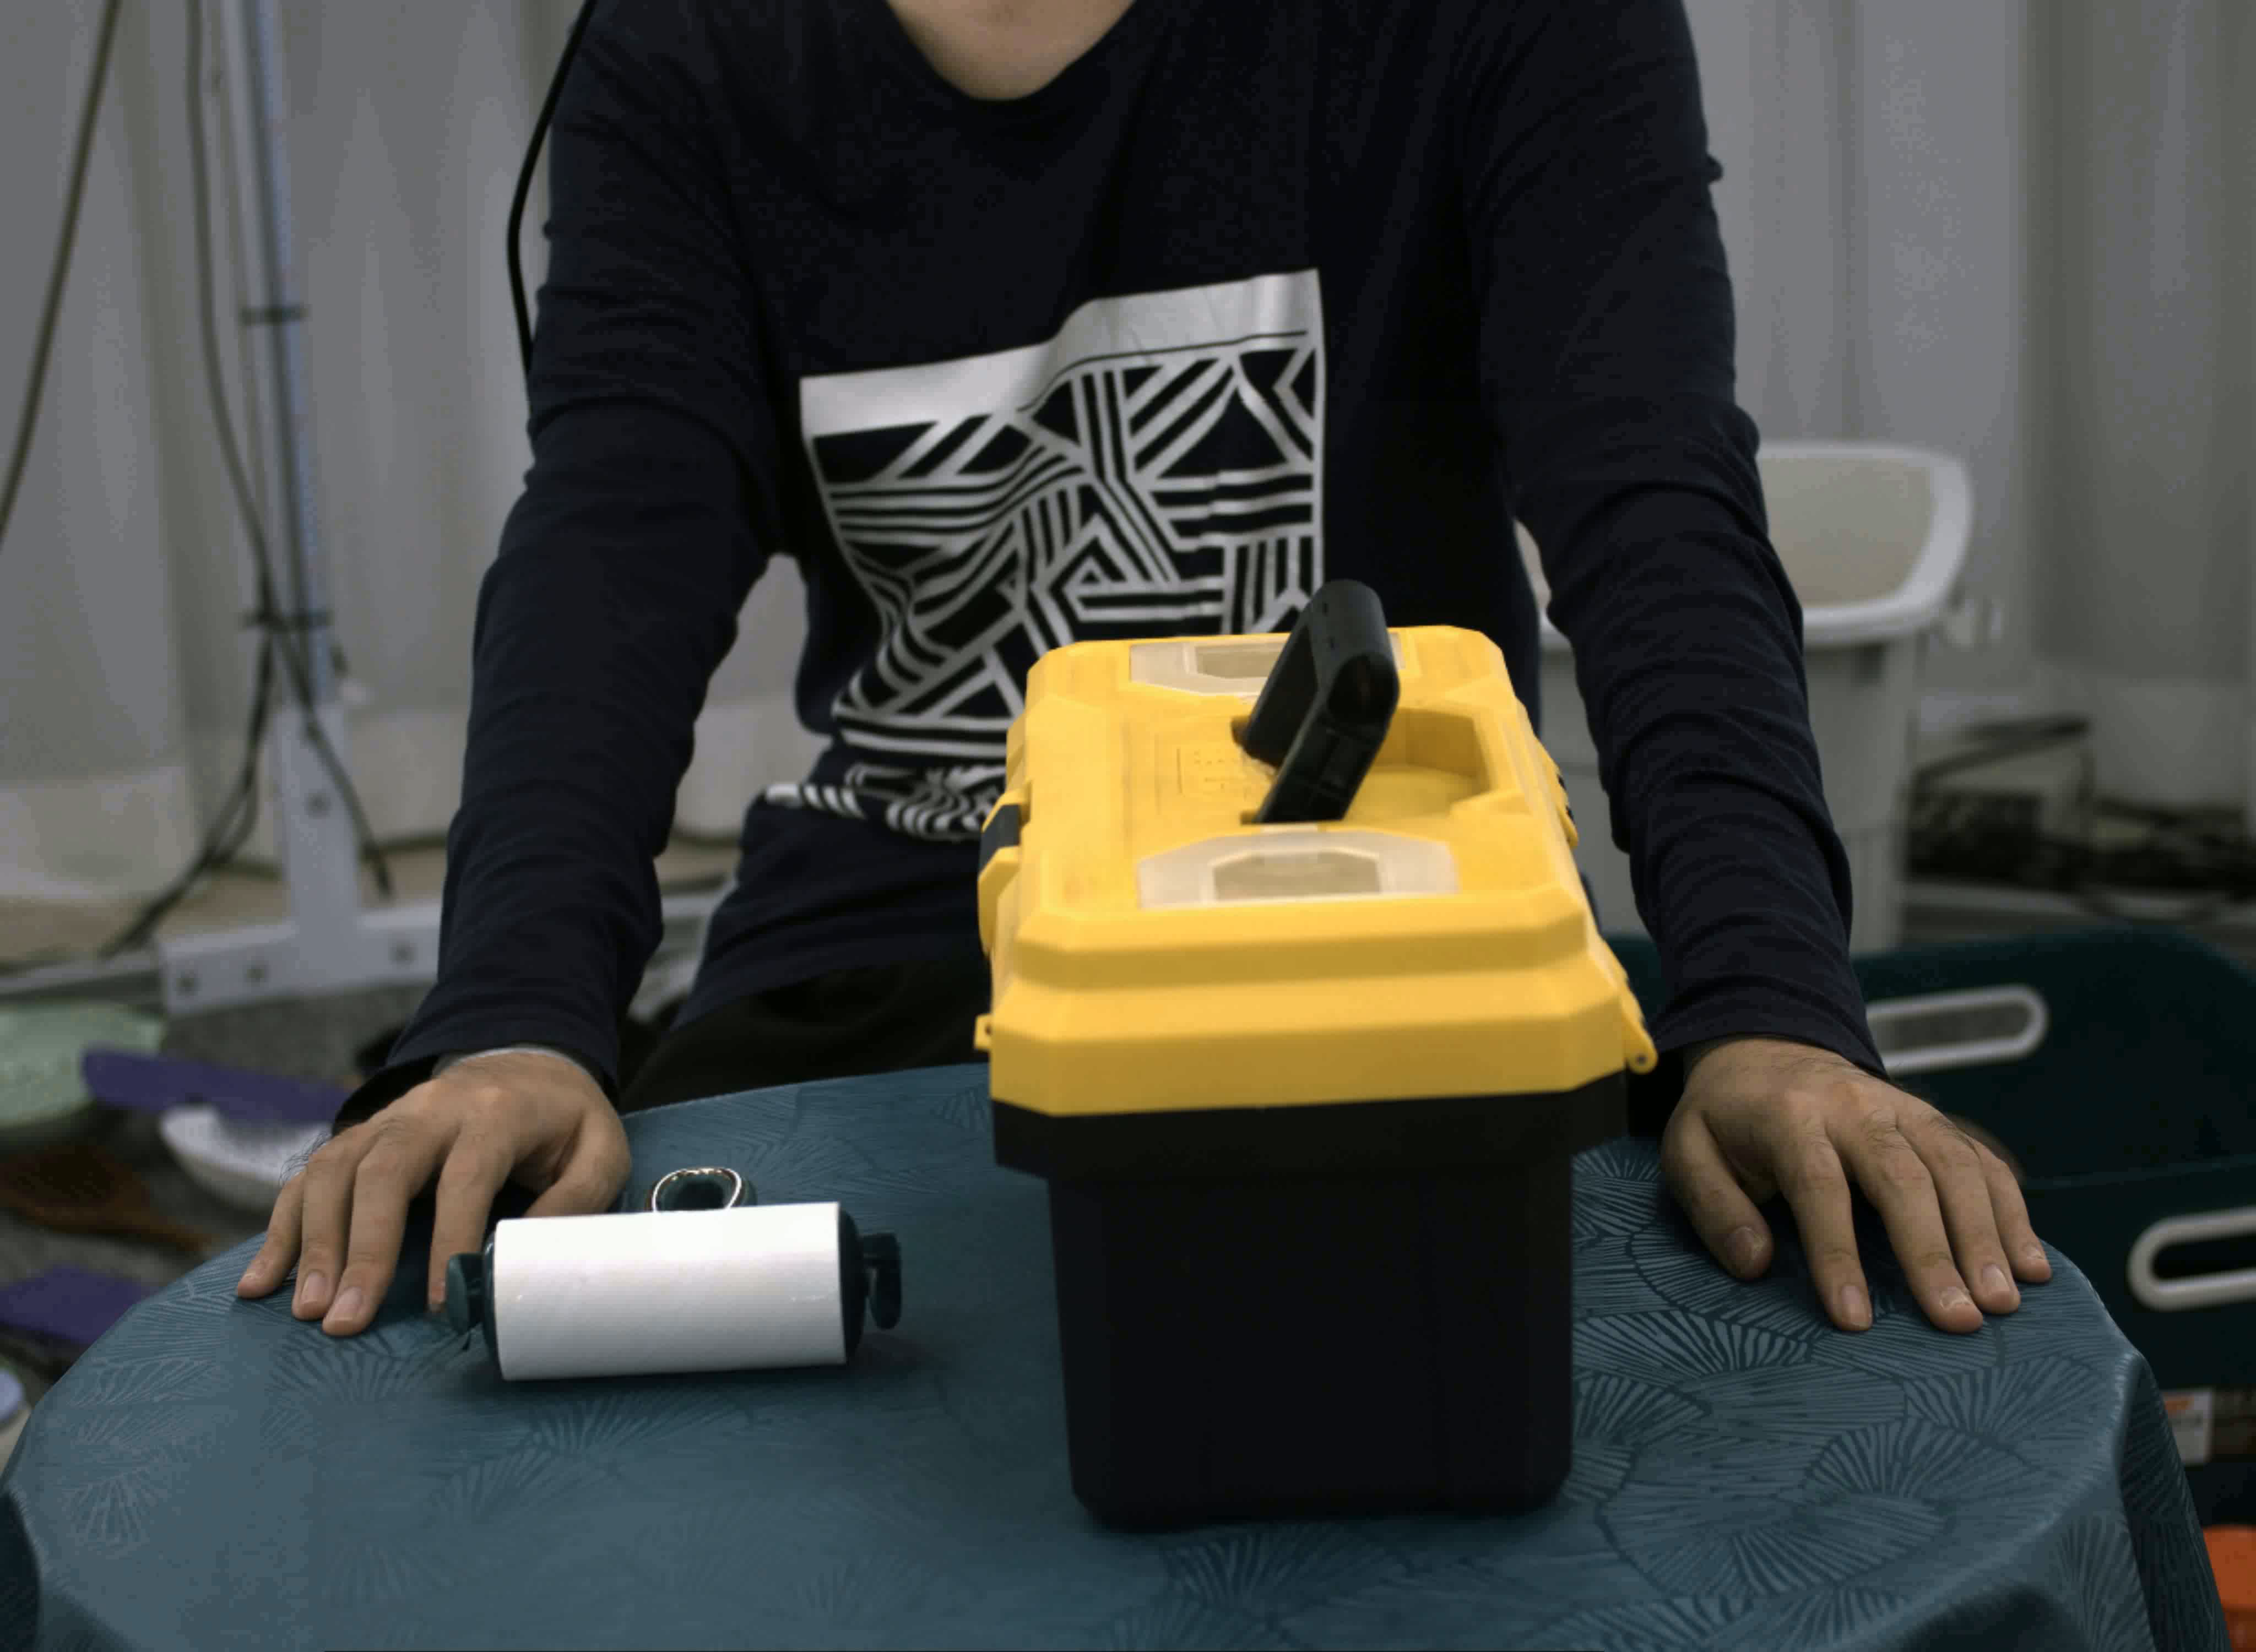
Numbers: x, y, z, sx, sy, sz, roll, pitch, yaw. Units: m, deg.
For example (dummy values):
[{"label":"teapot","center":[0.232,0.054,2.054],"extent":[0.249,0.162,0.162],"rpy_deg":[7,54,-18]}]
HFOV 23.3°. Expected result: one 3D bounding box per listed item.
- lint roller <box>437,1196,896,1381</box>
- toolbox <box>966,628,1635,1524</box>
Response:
[{"label":"lint roller","center":[-0.134,0.122,1.642],"extent":[0.134,0.048,0.181],"rpy_deg":[-4,11,-1]},{"label":"toolbox","center":[0.045,0.062,1.571],"extent":[0.181,0.172,0.354],"rpy_deg":[-2,14,0]}]
